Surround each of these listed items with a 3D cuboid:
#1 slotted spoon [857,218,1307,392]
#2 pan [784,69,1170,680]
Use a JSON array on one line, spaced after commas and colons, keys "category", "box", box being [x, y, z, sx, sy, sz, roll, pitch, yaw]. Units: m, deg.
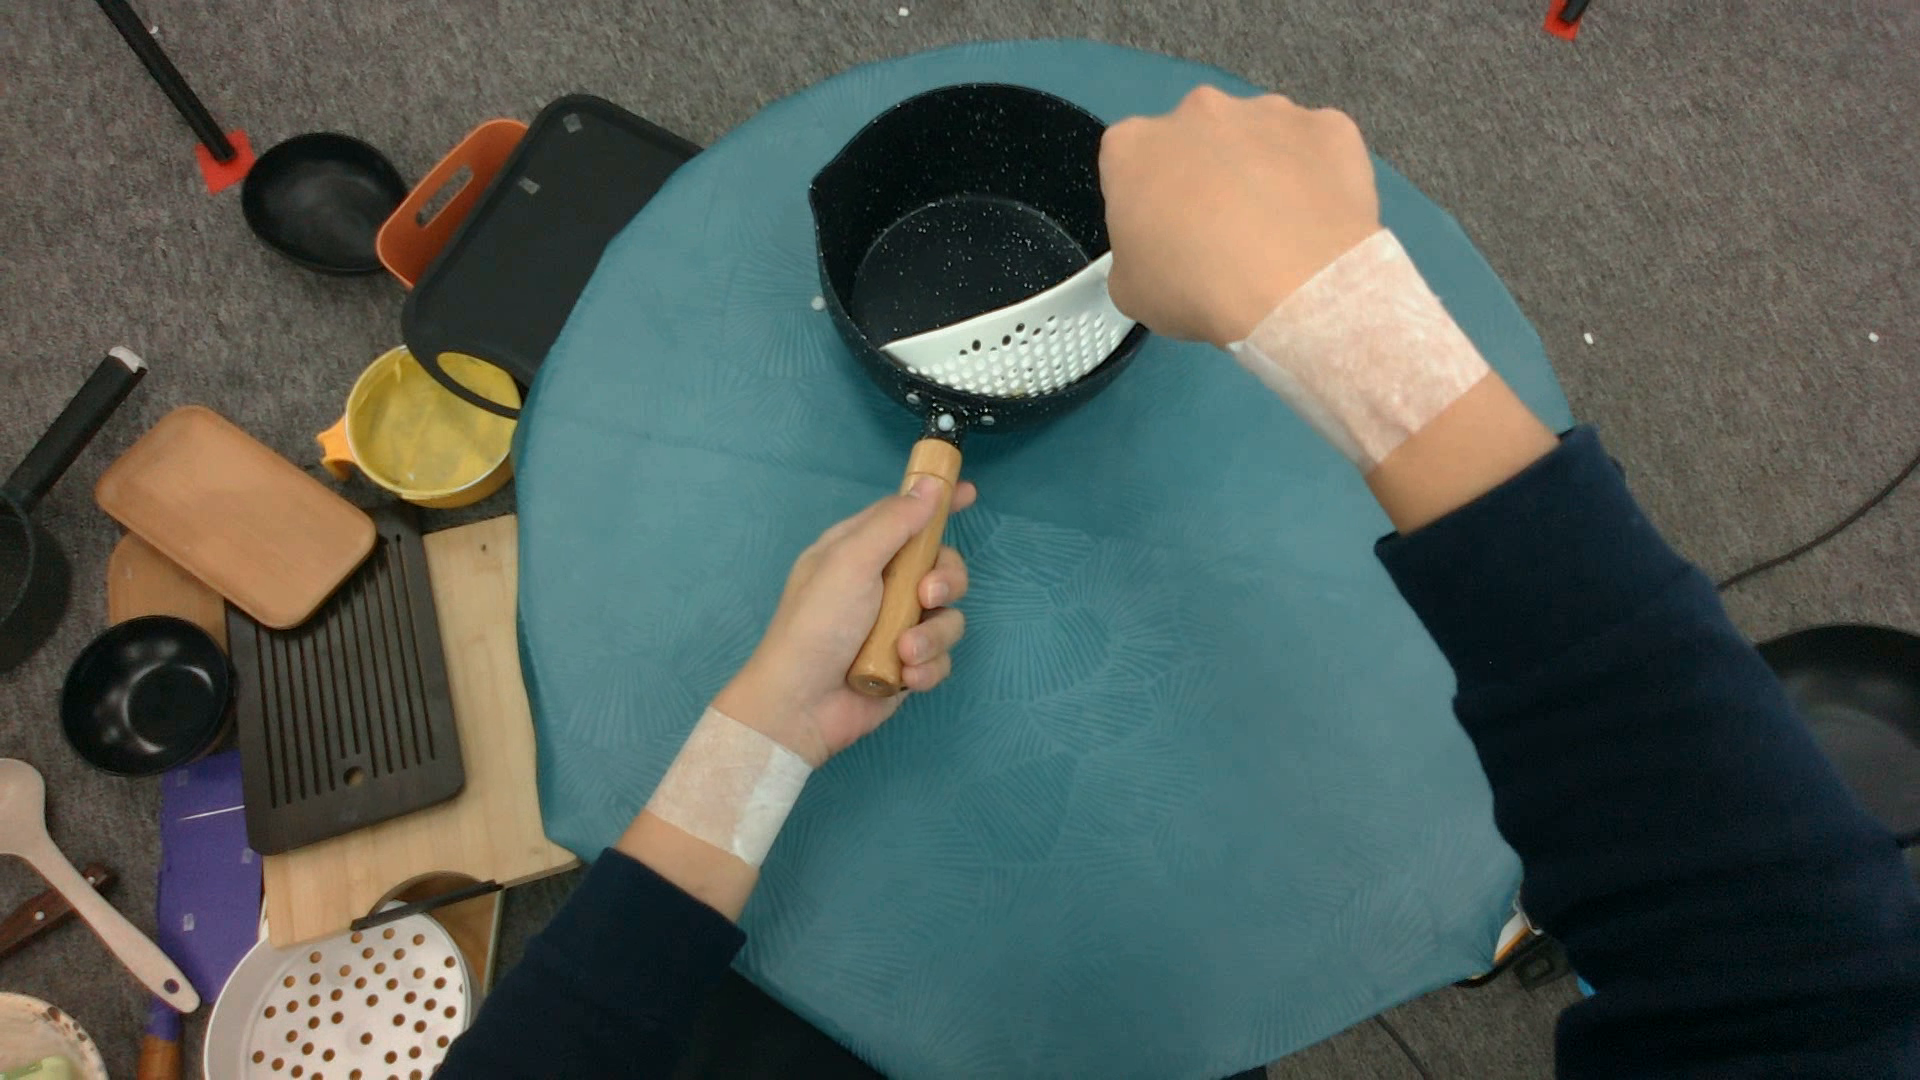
[{"category": "slotted spoon", "box": [0.046, -0.105, 0.605, 0.137, 0.347, 0.050, -8, 87, -17]}, {"category": "pan", "box": [-0.010, -0.081, 0.707, 0.207, 0.108, 0.344, 14, 69, -3]}]
